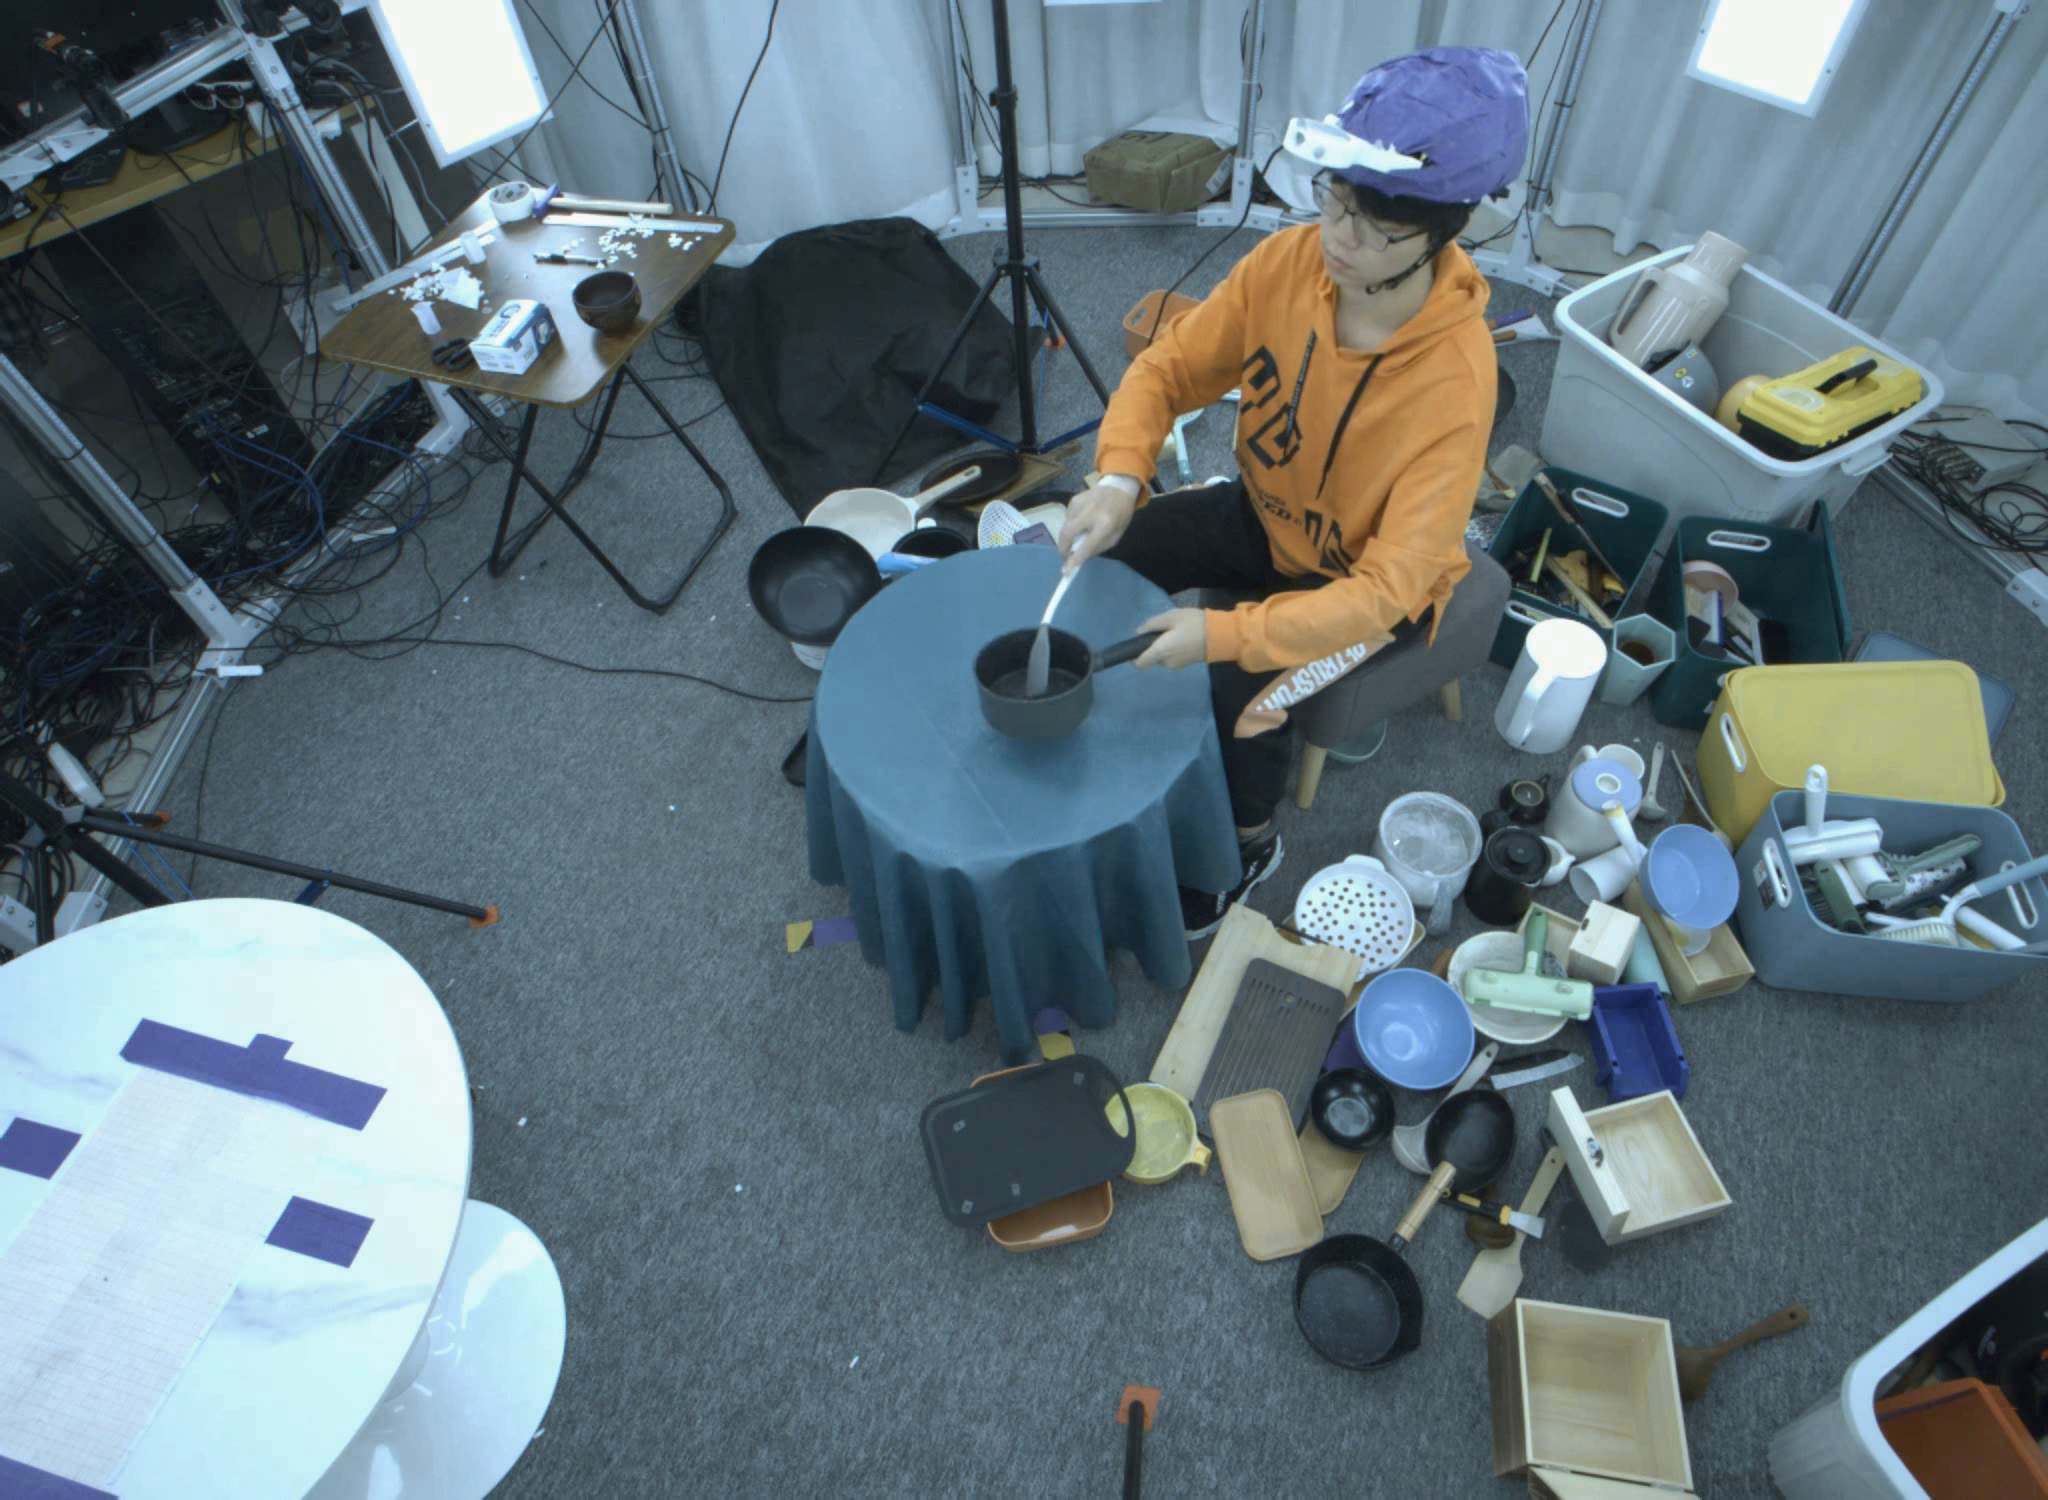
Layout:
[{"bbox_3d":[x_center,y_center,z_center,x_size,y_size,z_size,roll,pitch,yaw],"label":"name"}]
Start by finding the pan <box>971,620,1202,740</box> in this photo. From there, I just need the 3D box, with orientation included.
[{"bbox_3d":[0.092,-0.113,1.742,0.330,0.087,0.169,-13,44,-6],"label":"pan"}]

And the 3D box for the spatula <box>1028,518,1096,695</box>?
[{"bbox_3d":[0.050,-0.204,1.756,0.033,0.057,0.287,29,68,-31],"label":"spatula"}]
